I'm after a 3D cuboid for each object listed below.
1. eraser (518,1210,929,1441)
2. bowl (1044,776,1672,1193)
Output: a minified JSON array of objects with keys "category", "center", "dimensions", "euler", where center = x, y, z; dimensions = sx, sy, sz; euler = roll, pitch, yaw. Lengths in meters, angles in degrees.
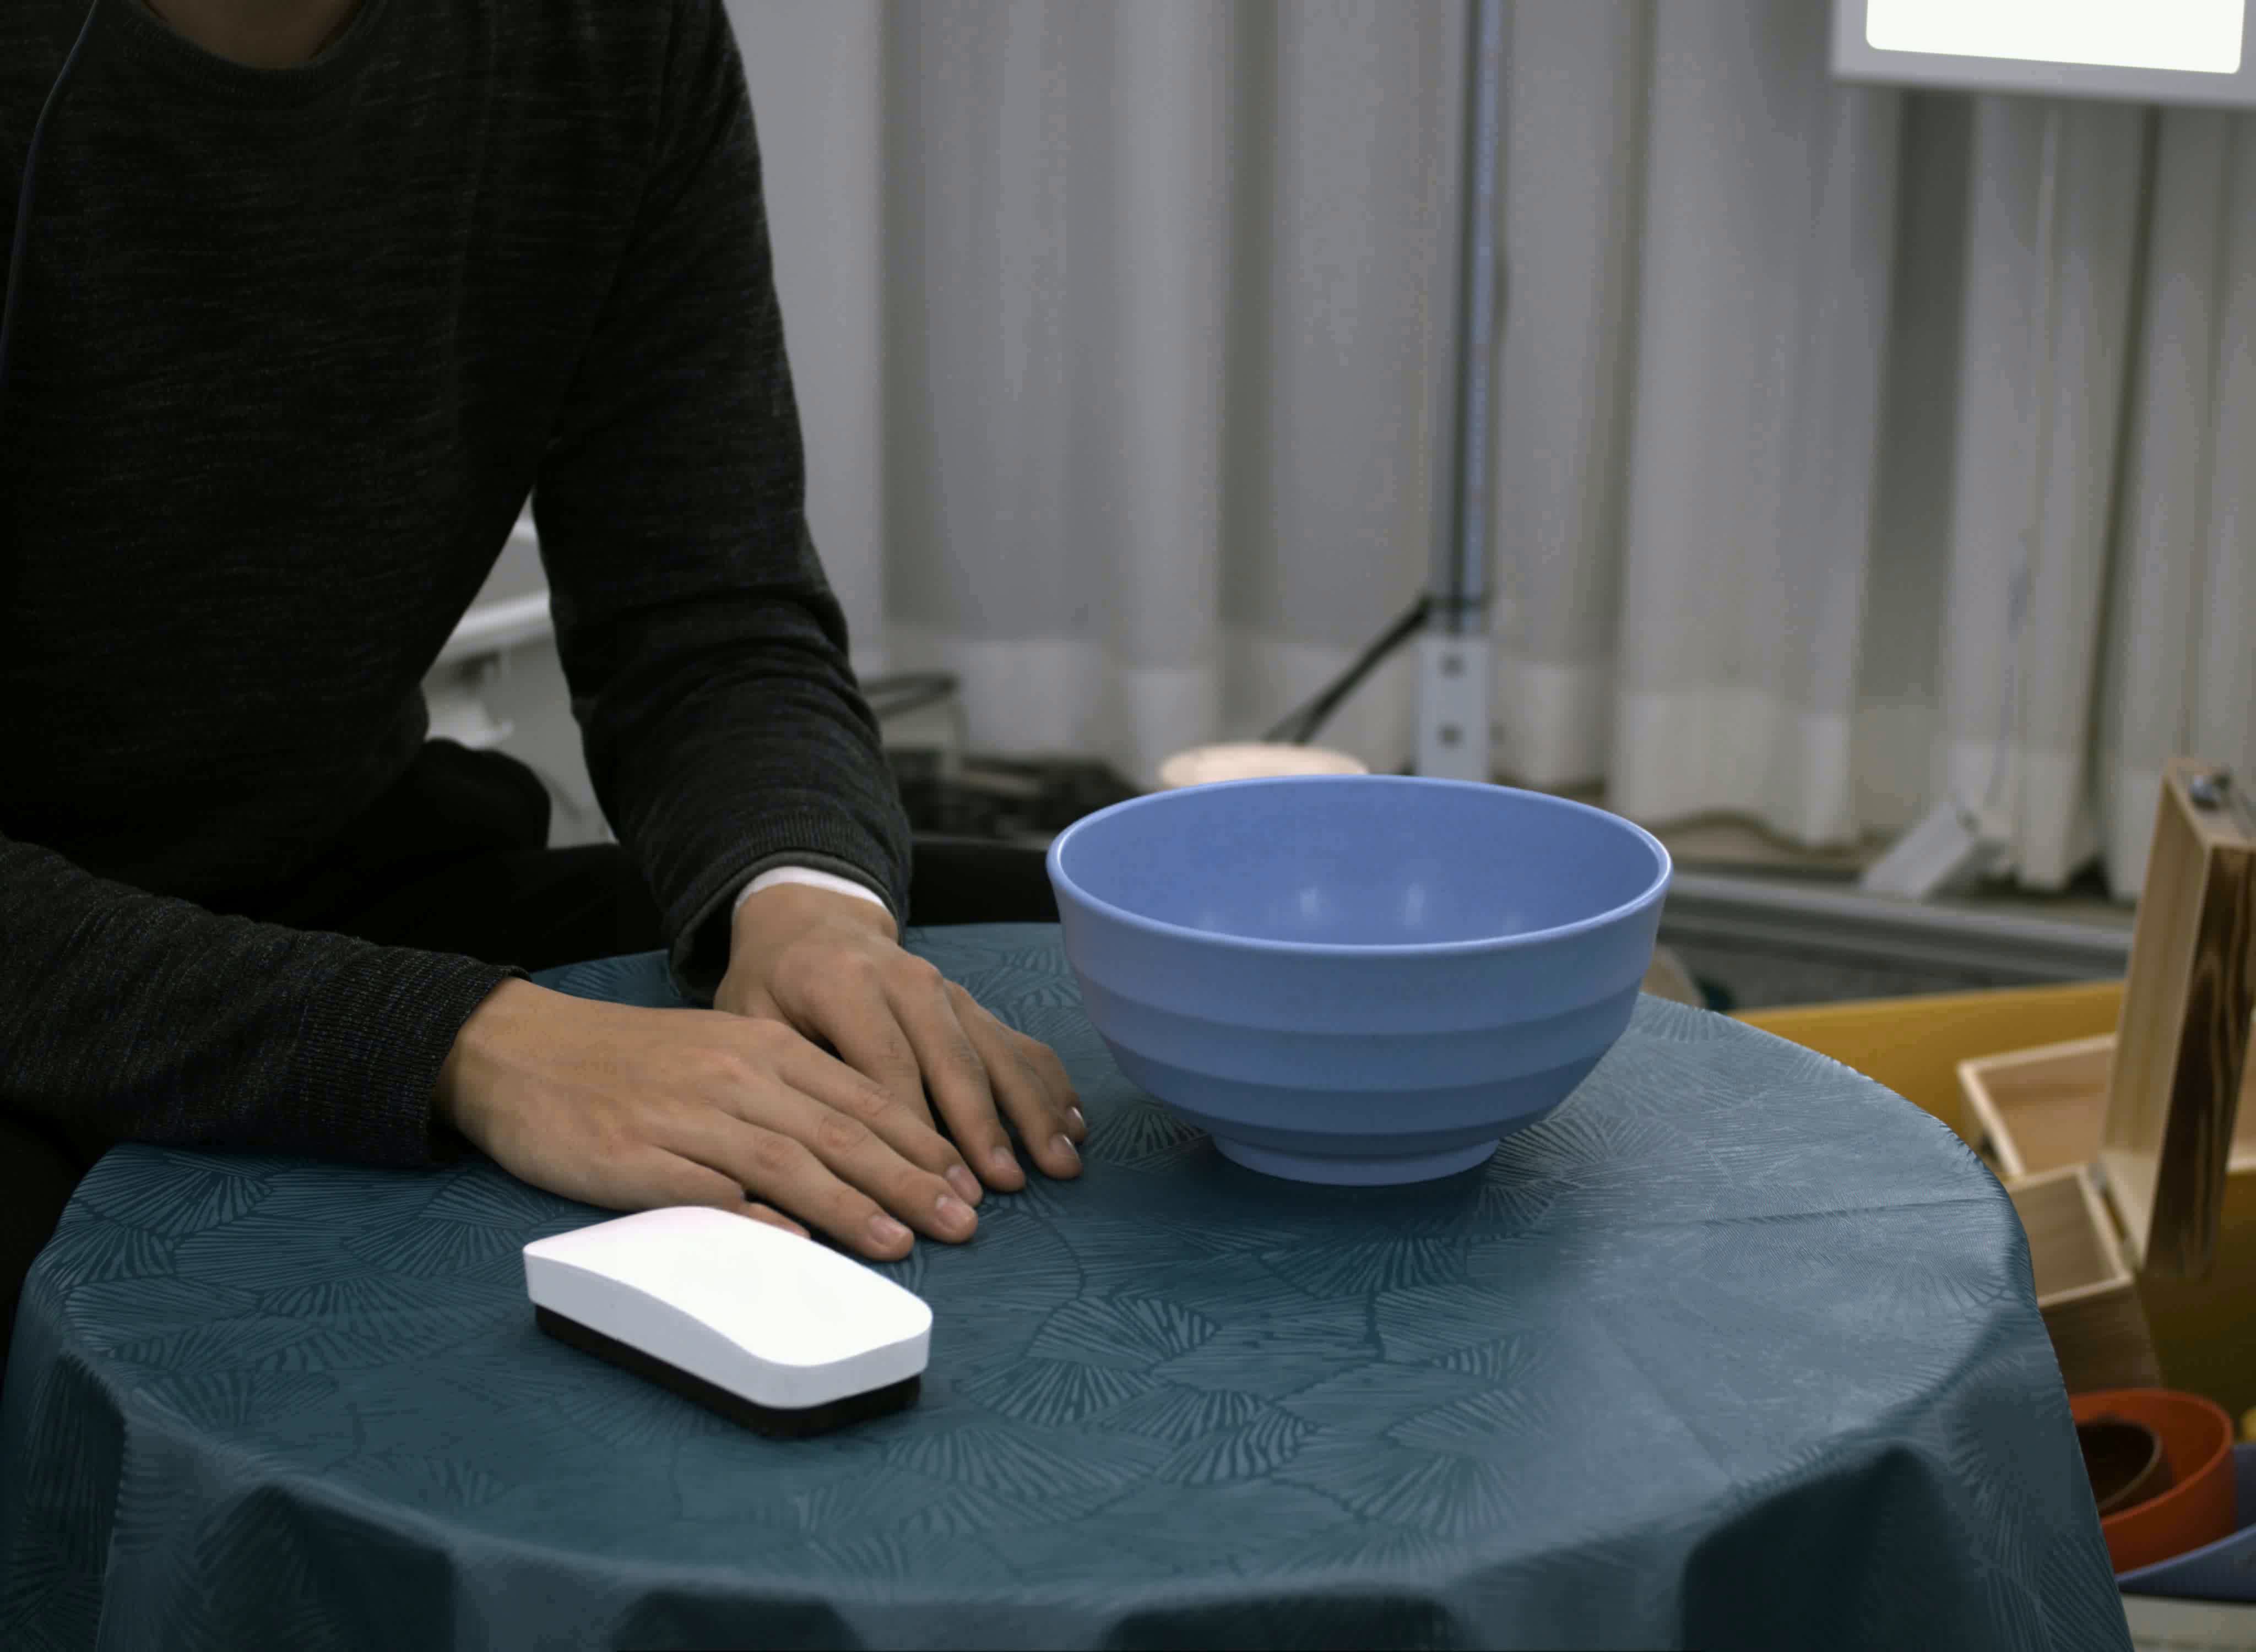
[{"category":"eraser","center":[-0.113,0.135,1.476],"dimensions":[0.064,0.035,0.129],"euler":[-12,20,-40]},{"category":"bowl","center":[0.072,0.056,1.656],"dimensions":[0.196,0.096,0.195],"euler":[0,16,1]}]
